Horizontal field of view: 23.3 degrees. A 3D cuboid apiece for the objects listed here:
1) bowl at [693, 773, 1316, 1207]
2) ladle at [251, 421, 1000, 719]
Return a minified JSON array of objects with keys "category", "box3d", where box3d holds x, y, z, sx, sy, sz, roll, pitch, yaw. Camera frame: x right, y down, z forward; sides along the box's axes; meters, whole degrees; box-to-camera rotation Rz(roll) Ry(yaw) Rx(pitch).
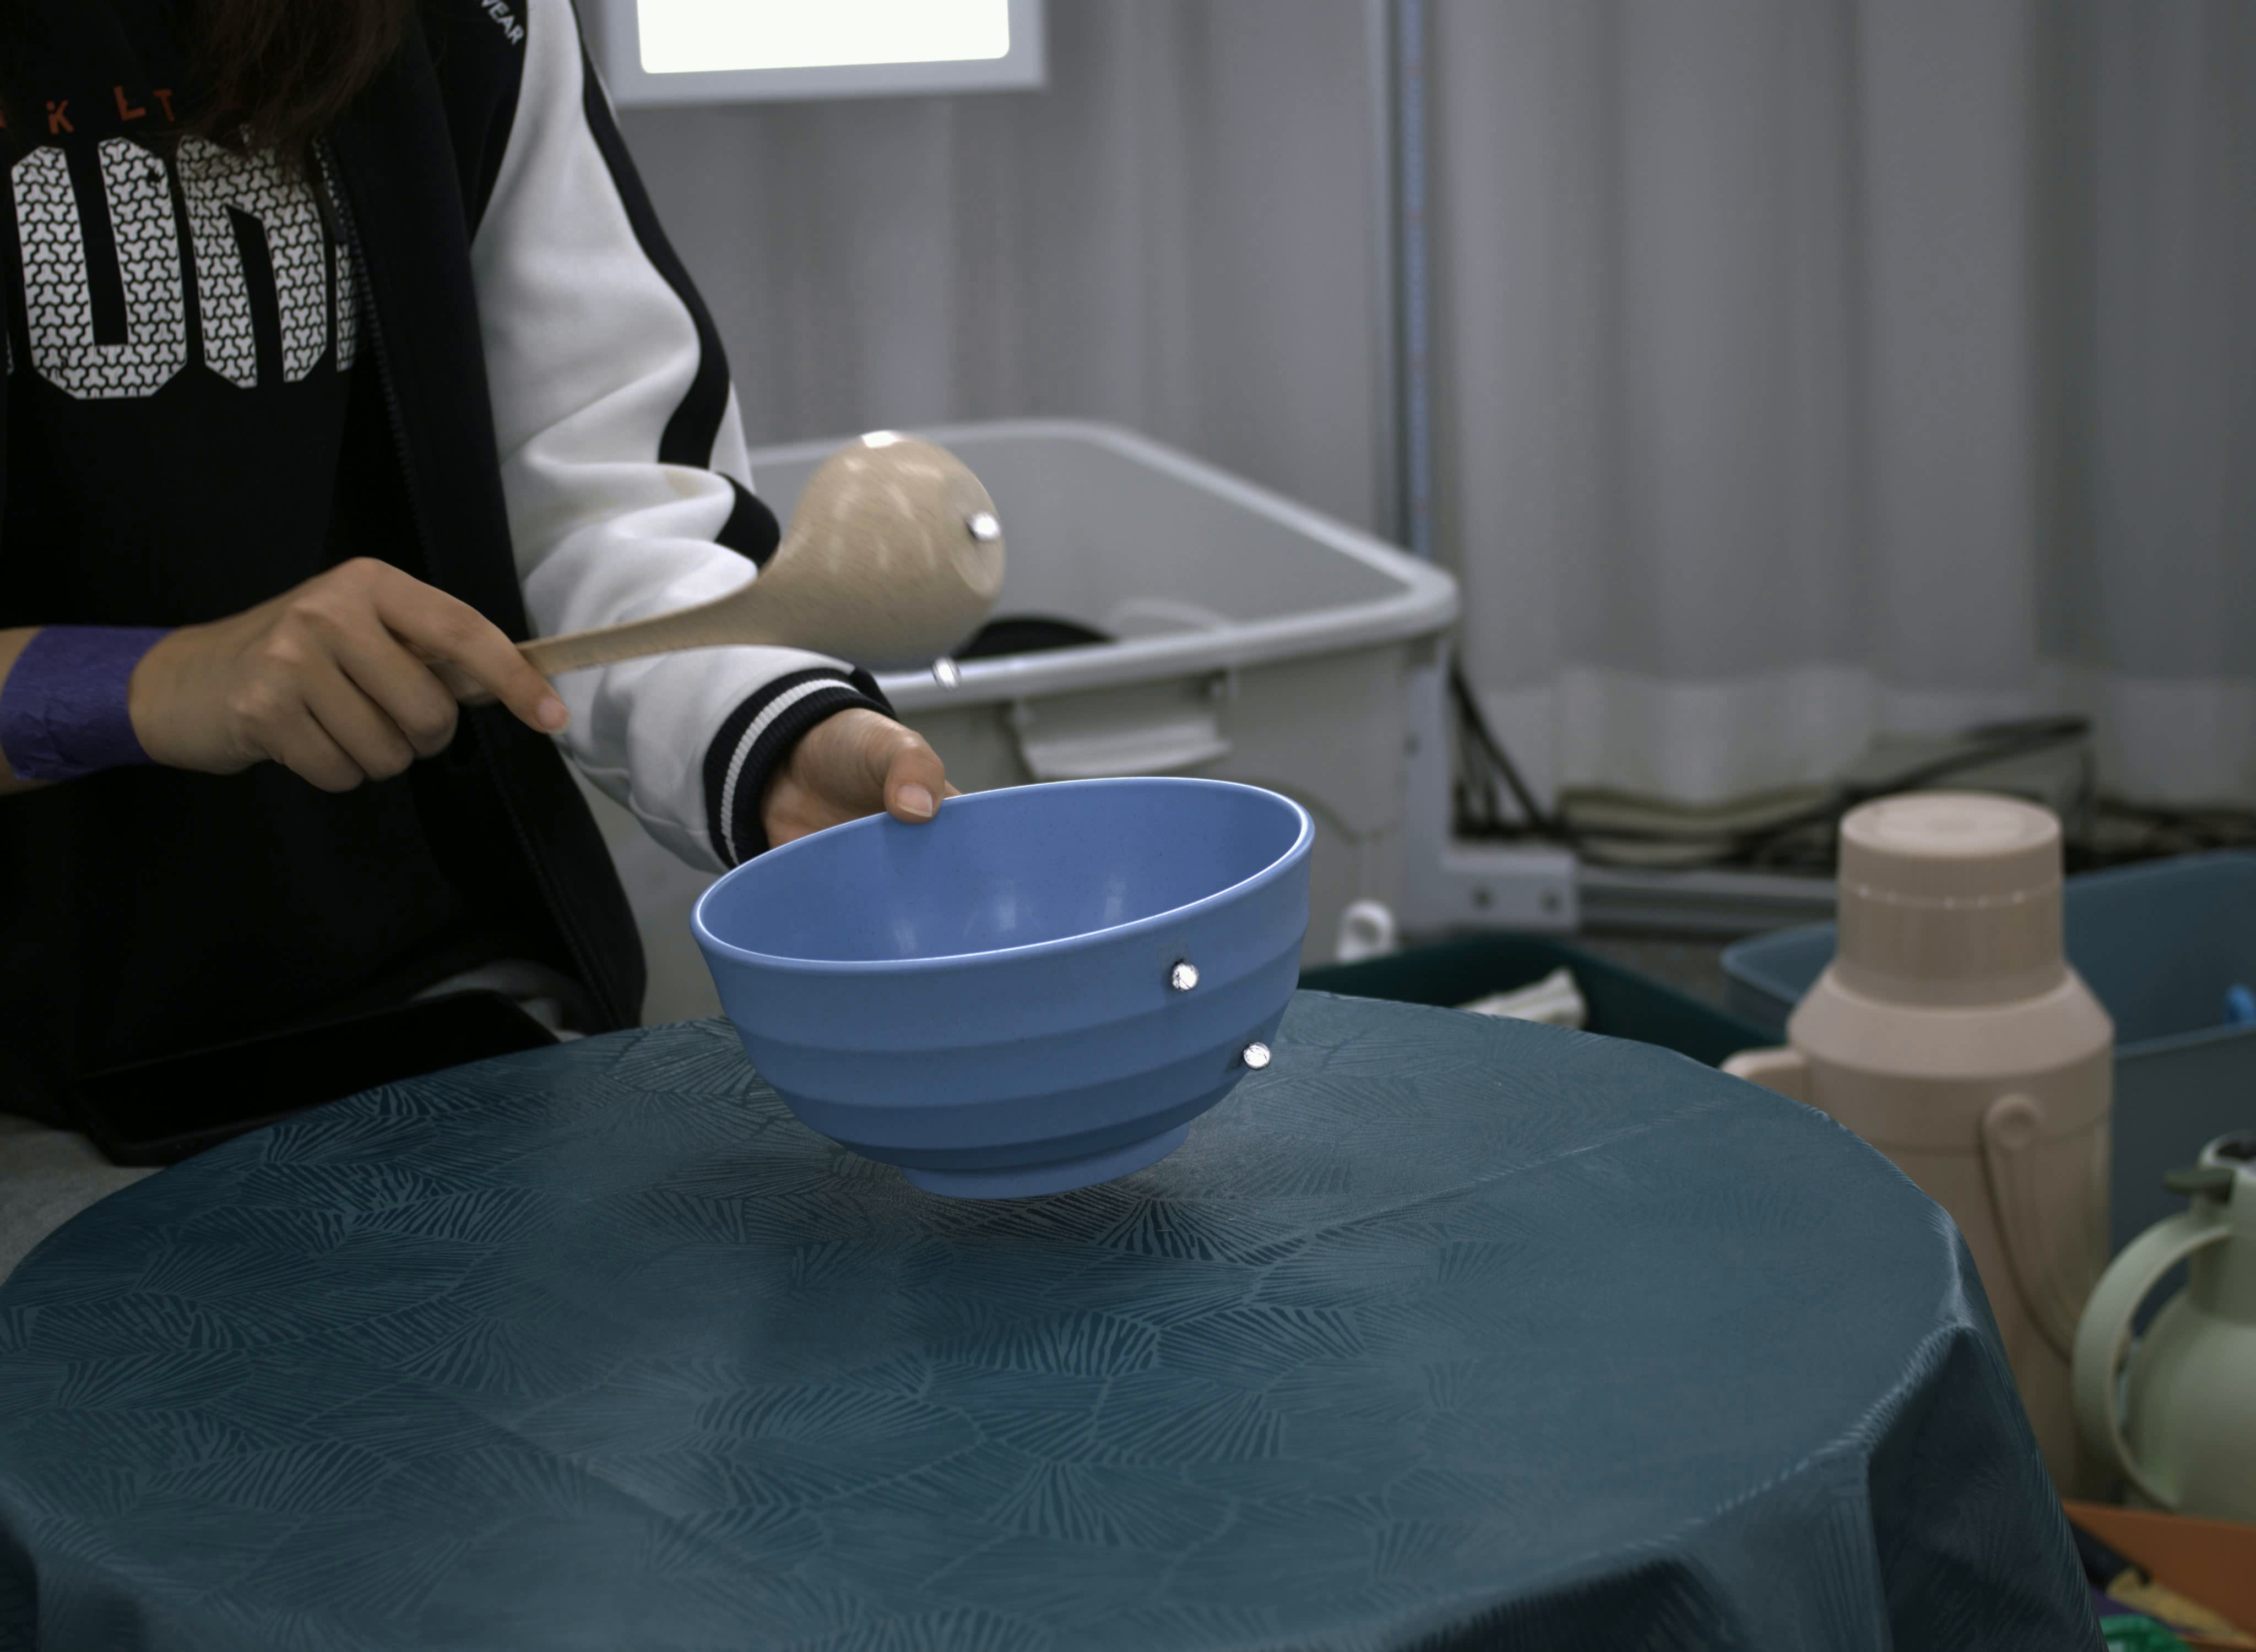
[{"category":"bowl","box3d":[-0.031,0.058,1.706,0.196,0.095,0.198,-9,15,2]},{"category":"ladle","box3d":[-0.156,-0.073,1.711,0.254,0.071,0.073,-9,22,30]}]
